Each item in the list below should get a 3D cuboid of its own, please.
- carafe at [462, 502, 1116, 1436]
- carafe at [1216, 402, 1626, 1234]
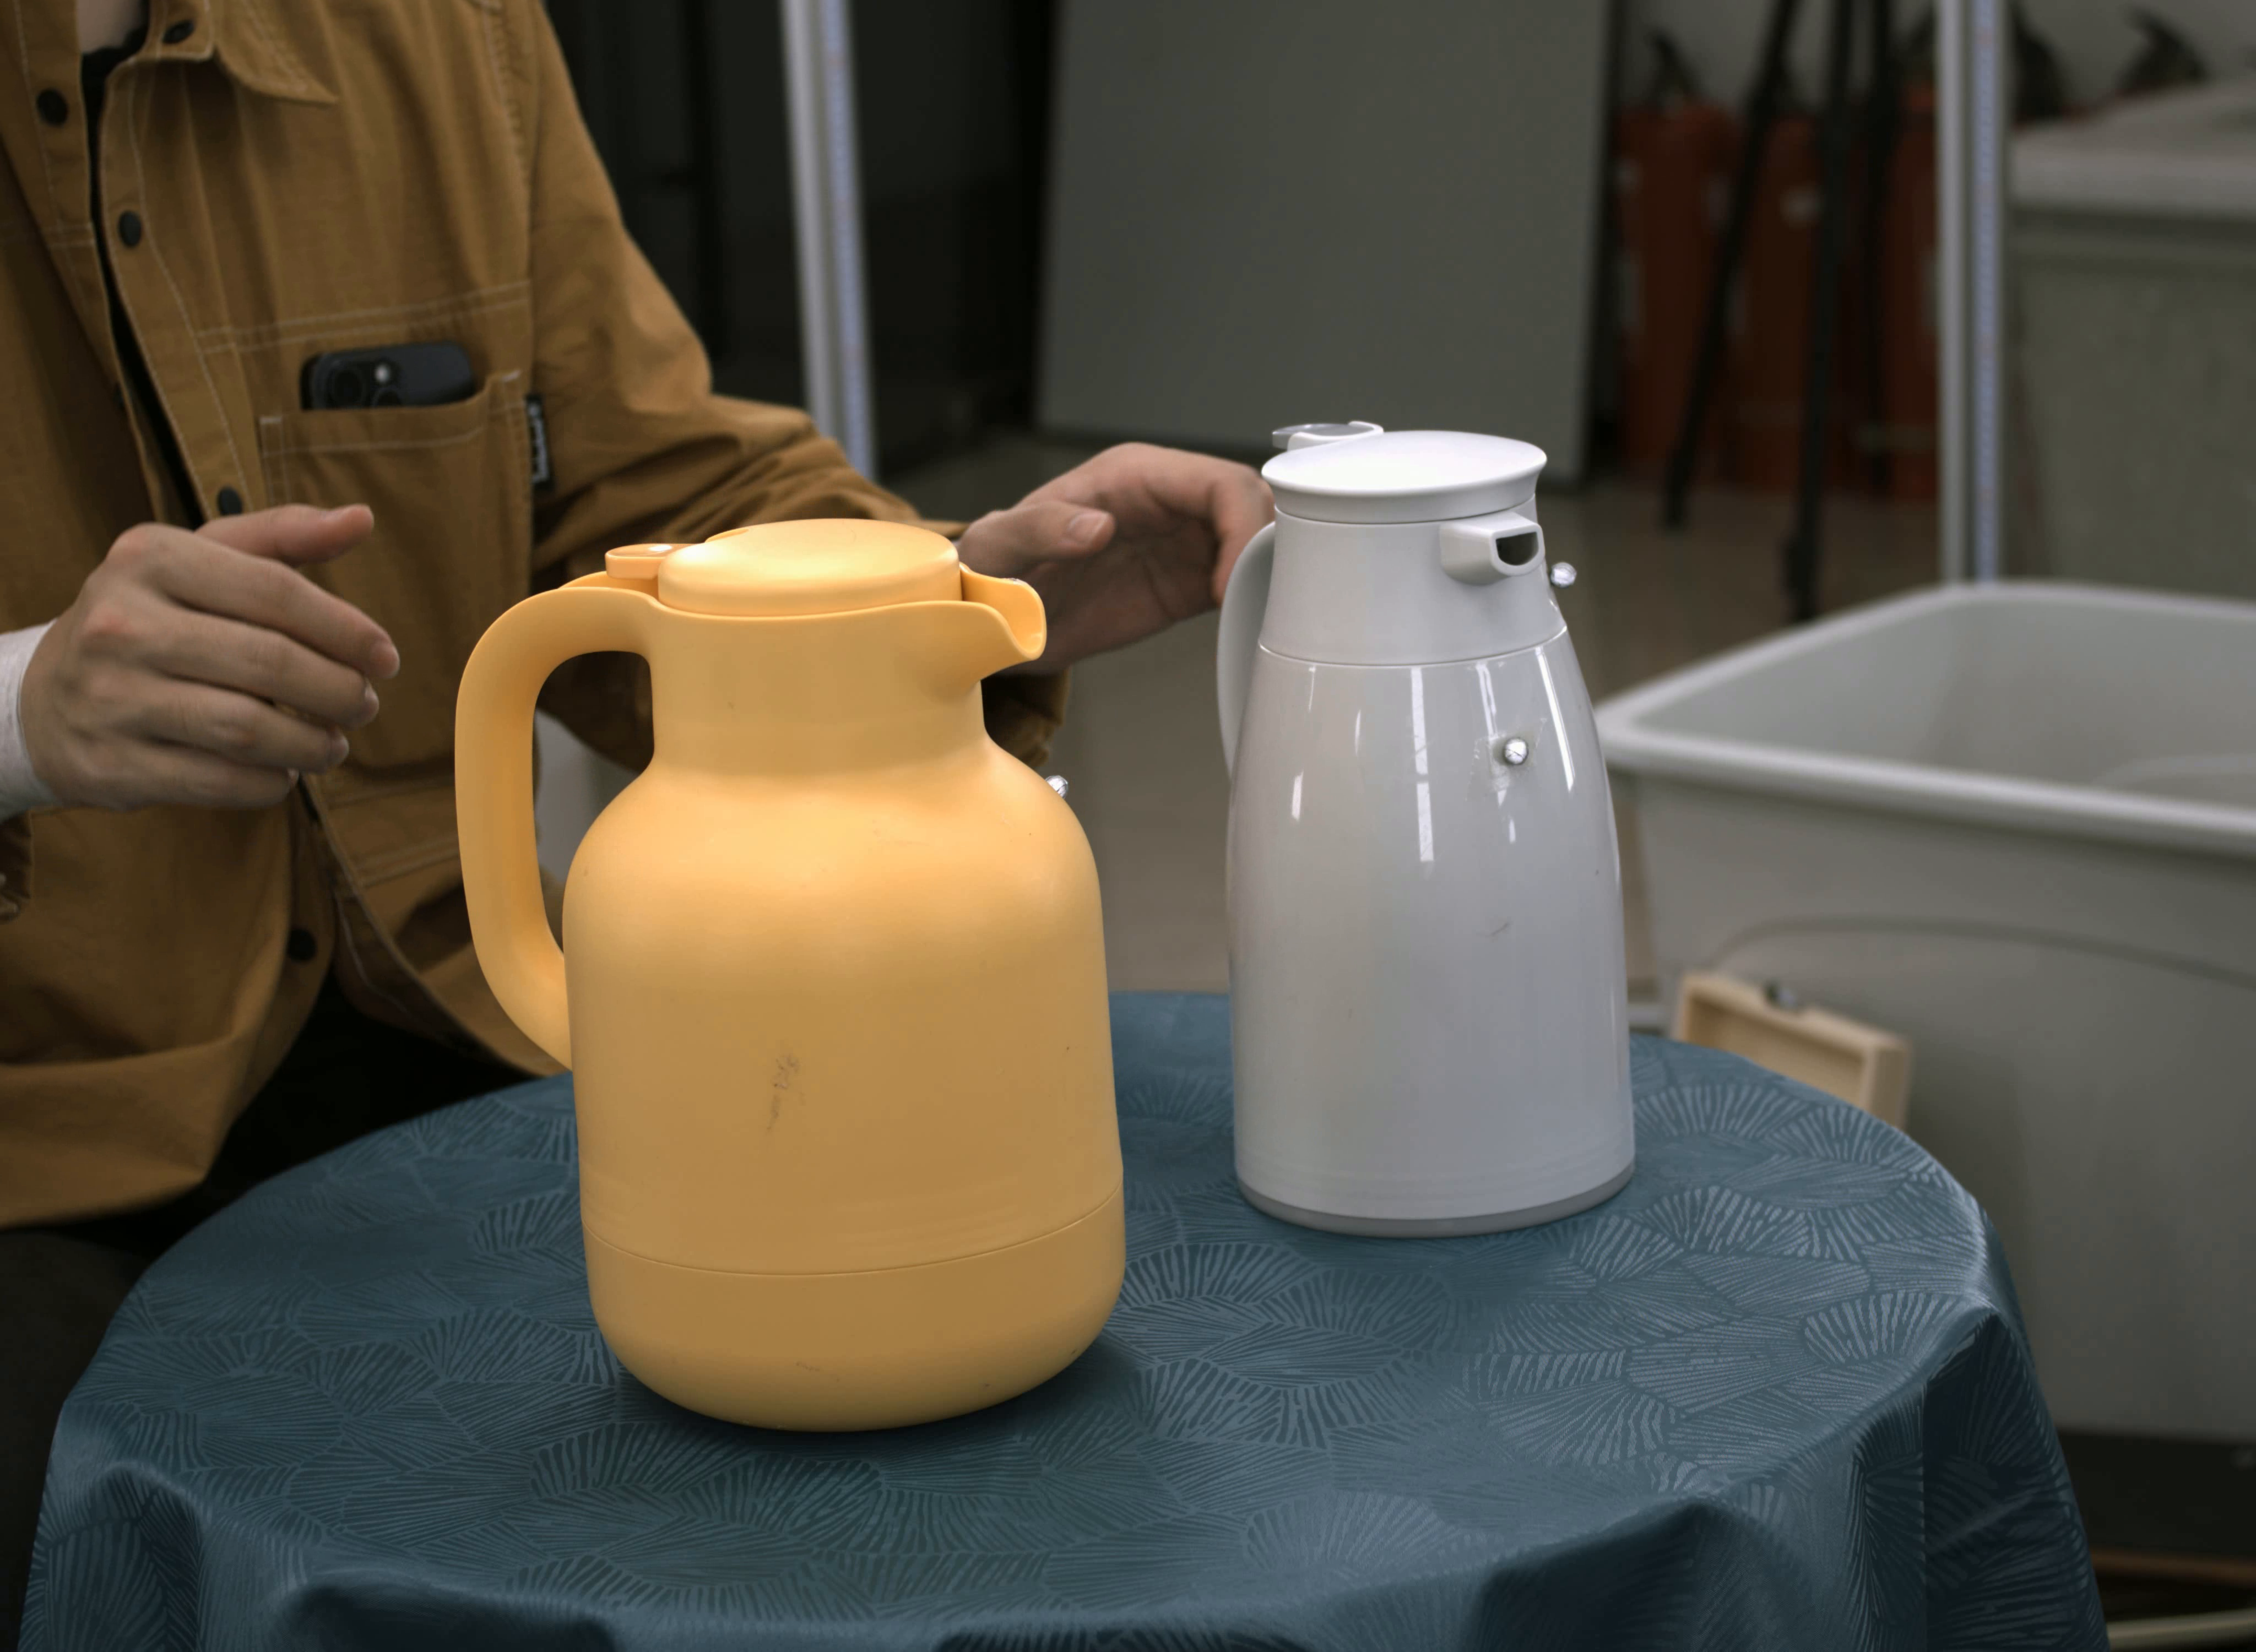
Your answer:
[{"bbox_3d":[-0.103,0.036,1.604,0.203,0.263,0.161,5,14,28],"label":"carafe"},{"bbox_3d":[0.082,-0.010,1.756,0.129,0.251,0.169,-11,15,-29],"label":"carafe"}]
